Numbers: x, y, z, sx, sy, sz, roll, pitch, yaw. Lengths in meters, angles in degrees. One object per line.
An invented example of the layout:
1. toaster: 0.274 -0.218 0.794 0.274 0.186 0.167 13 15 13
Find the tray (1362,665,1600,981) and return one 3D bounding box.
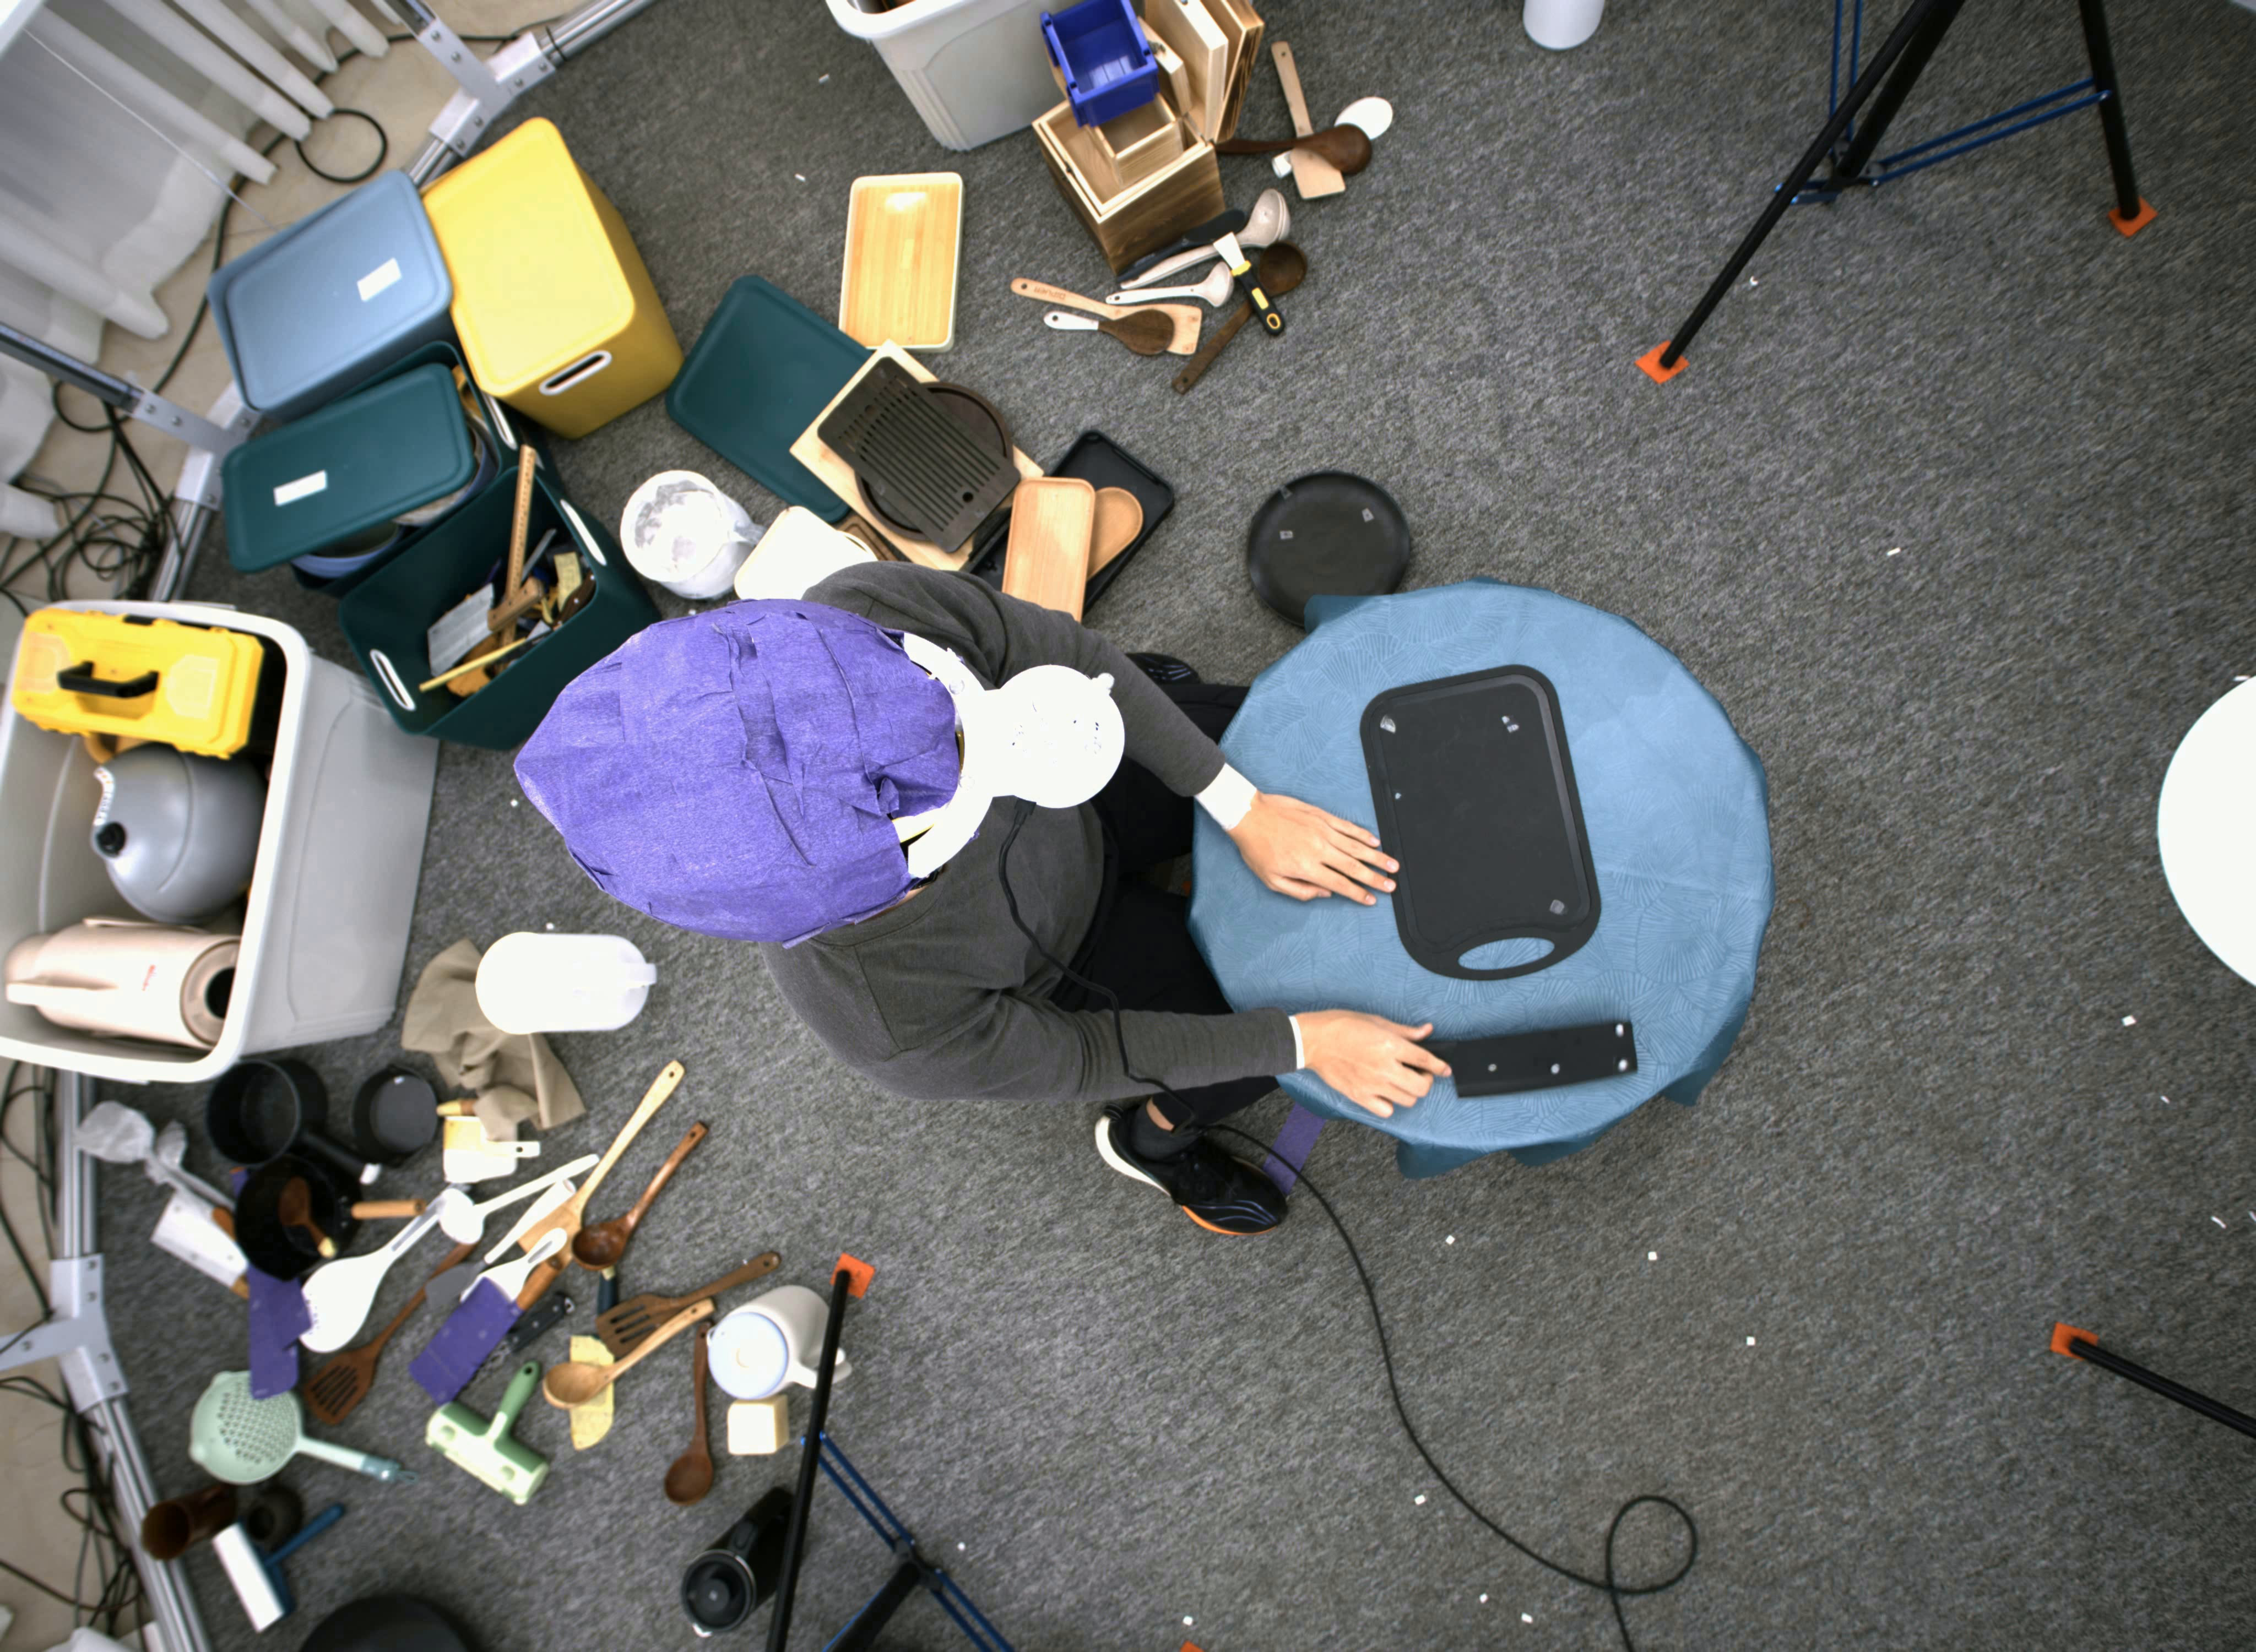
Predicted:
1. tray: 0.371 -0.004 1.442 0.212 0.010 0.323 -10 85 11

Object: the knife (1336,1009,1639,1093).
1. knife: 0.361 0.233 1.402 0.304 0.020 0.082 -8 104 16
